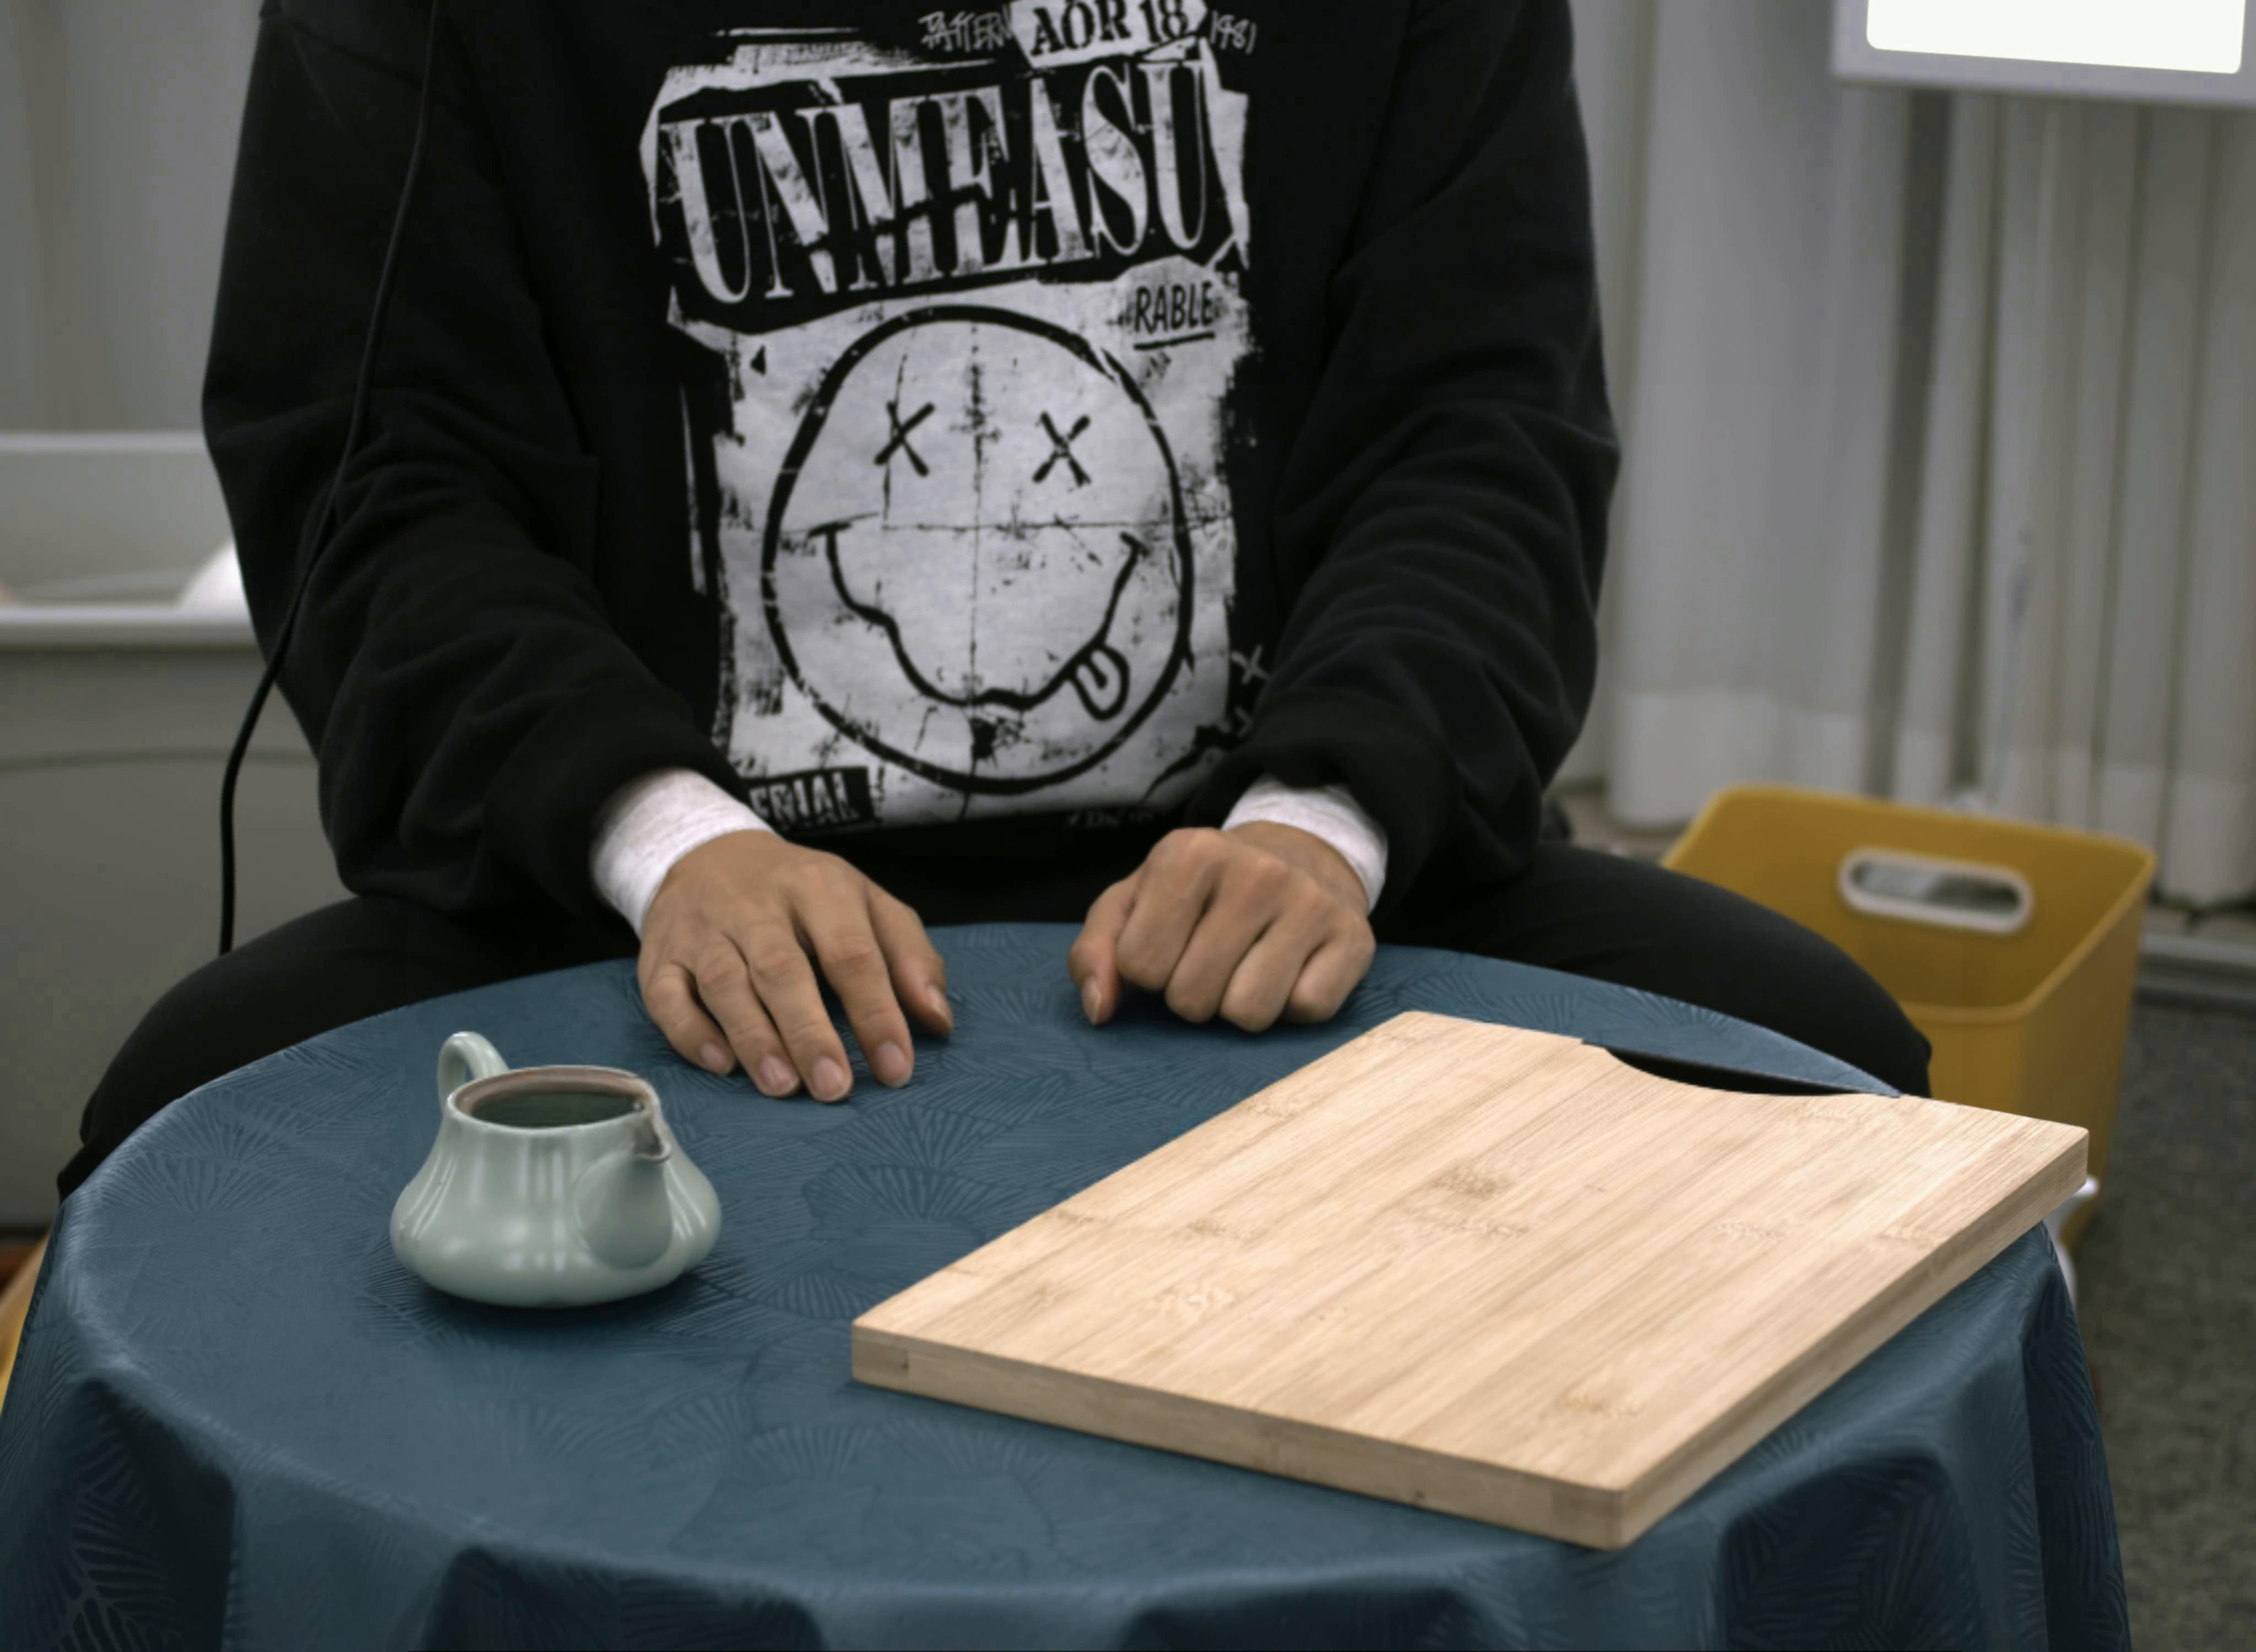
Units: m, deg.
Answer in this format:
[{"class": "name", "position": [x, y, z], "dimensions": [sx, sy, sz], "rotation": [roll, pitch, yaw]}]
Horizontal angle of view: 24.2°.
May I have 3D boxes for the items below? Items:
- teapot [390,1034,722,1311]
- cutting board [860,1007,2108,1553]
[{"class": "teapot", "position": [-0.170, 0.103, 1.538], "dimensions": [0.096, 0.062, 0.135], "rotation": [-12, 21, -34]}, {"class": "cutting board", "position": [0.113, 0.124, 1.555], "dimensions": [0.248, 0.024, 0.349], "rotation": [9, 18, 28]}]
